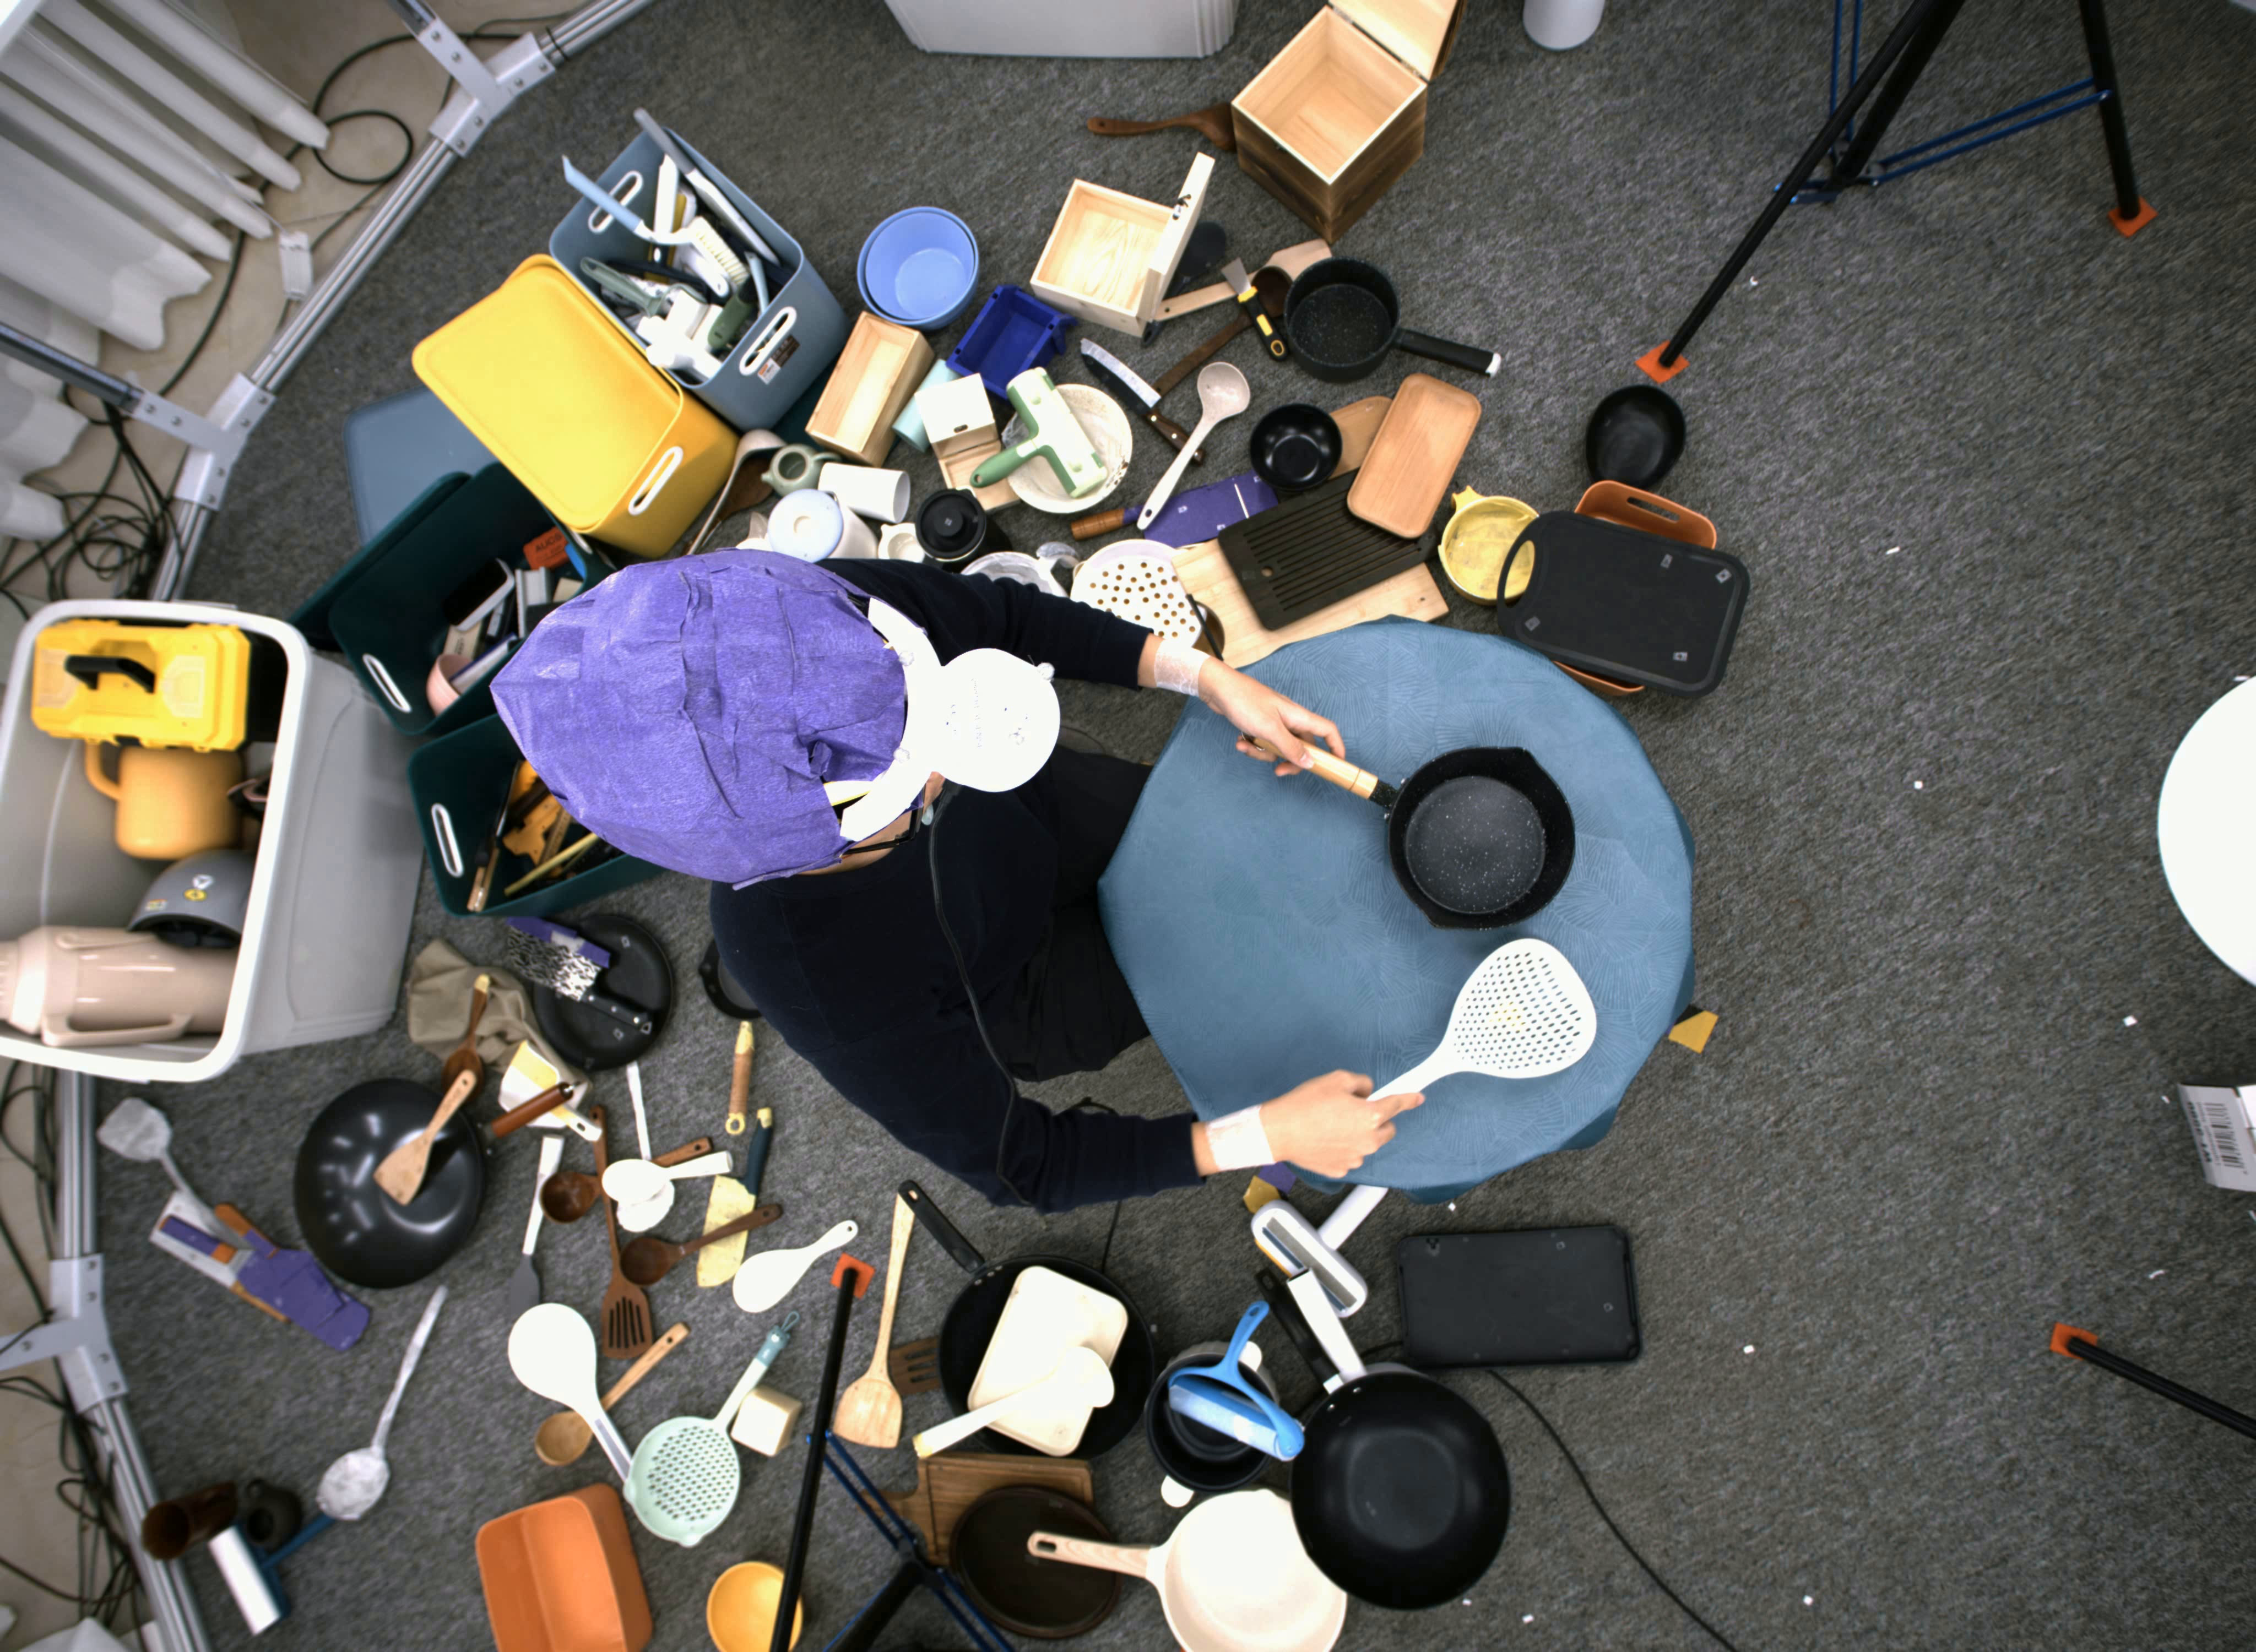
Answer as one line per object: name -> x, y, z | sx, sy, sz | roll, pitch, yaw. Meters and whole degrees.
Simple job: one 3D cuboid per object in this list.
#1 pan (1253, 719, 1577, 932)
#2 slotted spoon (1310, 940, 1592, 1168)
pan -> 0.285, -0.020, 1.408 | 0.342, 0.108, 0.208 | 25, 92, 10
slotted spoon -> 0.313, 0.230, 1.355 | 0.343, 0.051, 0.136 | -27, 80, -26
